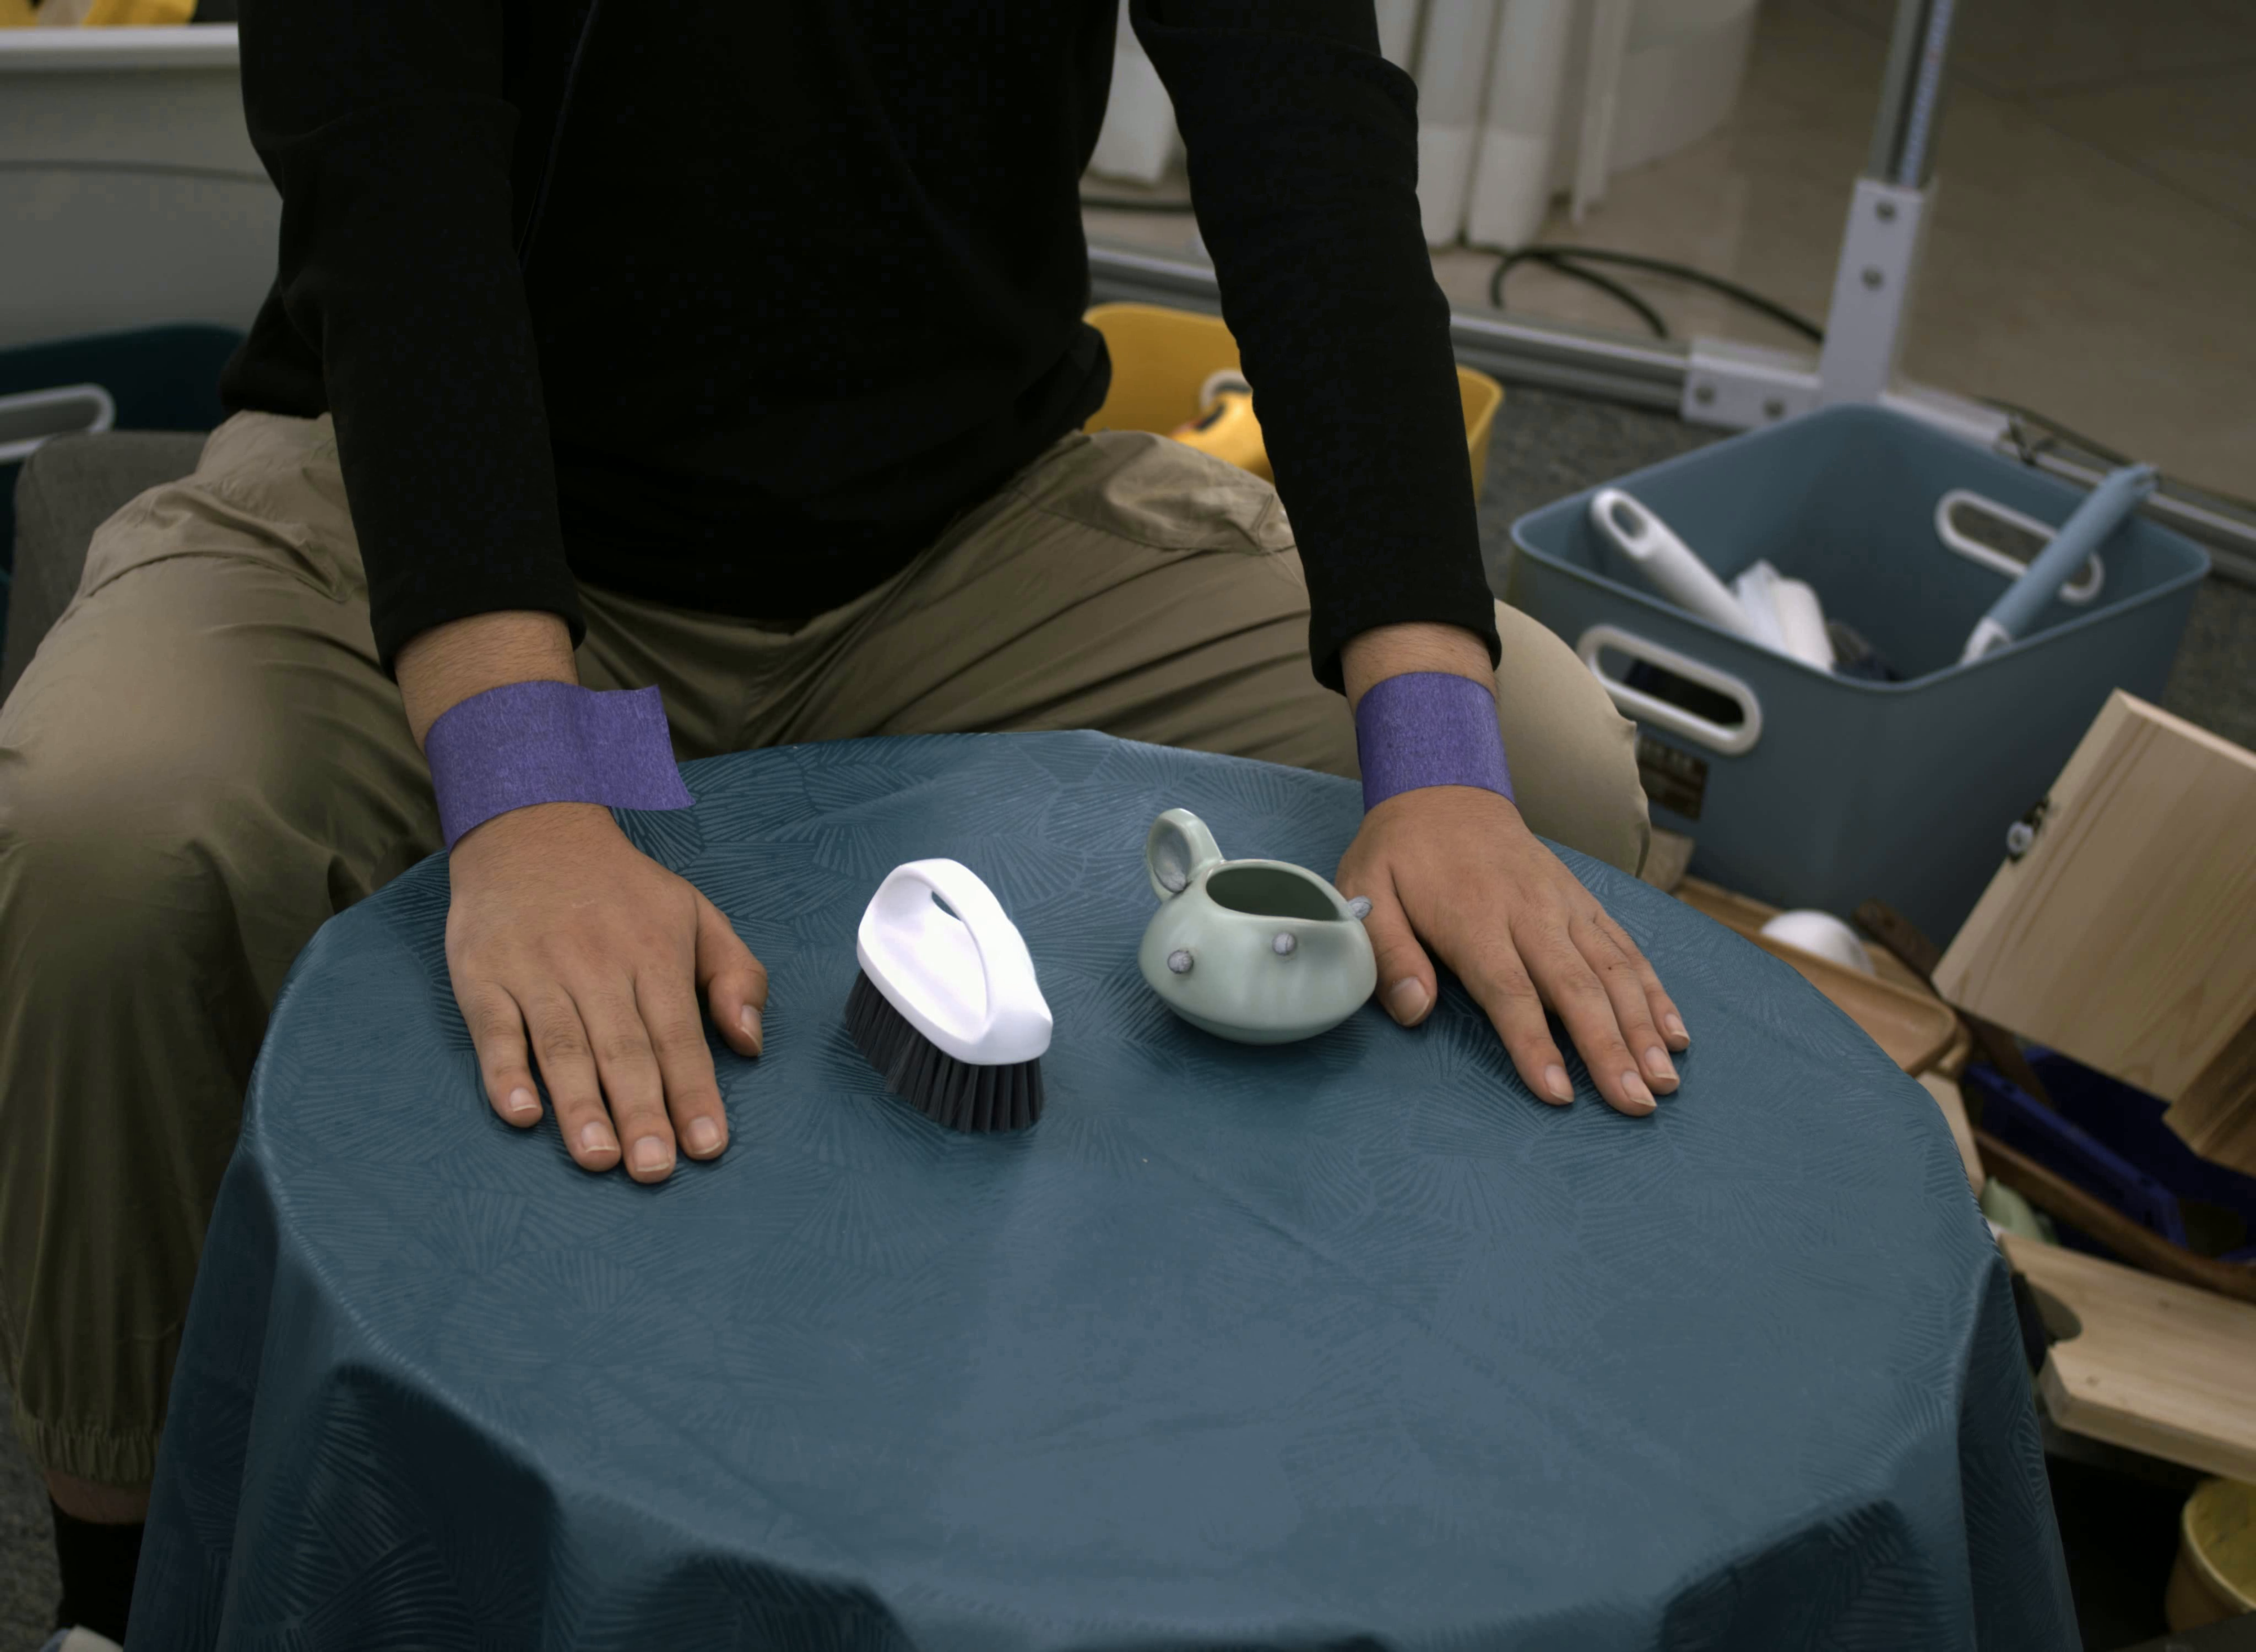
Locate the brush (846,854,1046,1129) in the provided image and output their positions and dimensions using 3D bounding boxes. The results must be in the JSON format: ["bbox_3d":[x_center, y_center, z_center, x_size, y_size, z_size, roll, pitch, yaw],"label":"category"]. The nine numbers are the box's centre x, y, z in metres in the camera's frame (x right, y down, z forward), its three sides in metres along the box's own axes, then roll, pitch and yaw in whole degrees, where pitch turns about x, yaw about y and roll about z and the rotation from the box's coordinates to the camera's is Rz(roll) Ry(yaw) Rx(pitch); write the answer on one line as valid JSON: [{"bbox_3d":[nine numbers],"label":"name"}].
[{"bbox_3d":[-0.062,0.051,1.848,0.050,0.072,0.100,-6,30,-26],"label":"brush"}]

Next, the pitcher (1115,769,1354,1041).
[{"bbox_3d":[0.034,0.030,1.923,0.085,0.060,0.109,-16,49,-17],"label":"pitcher"}]
